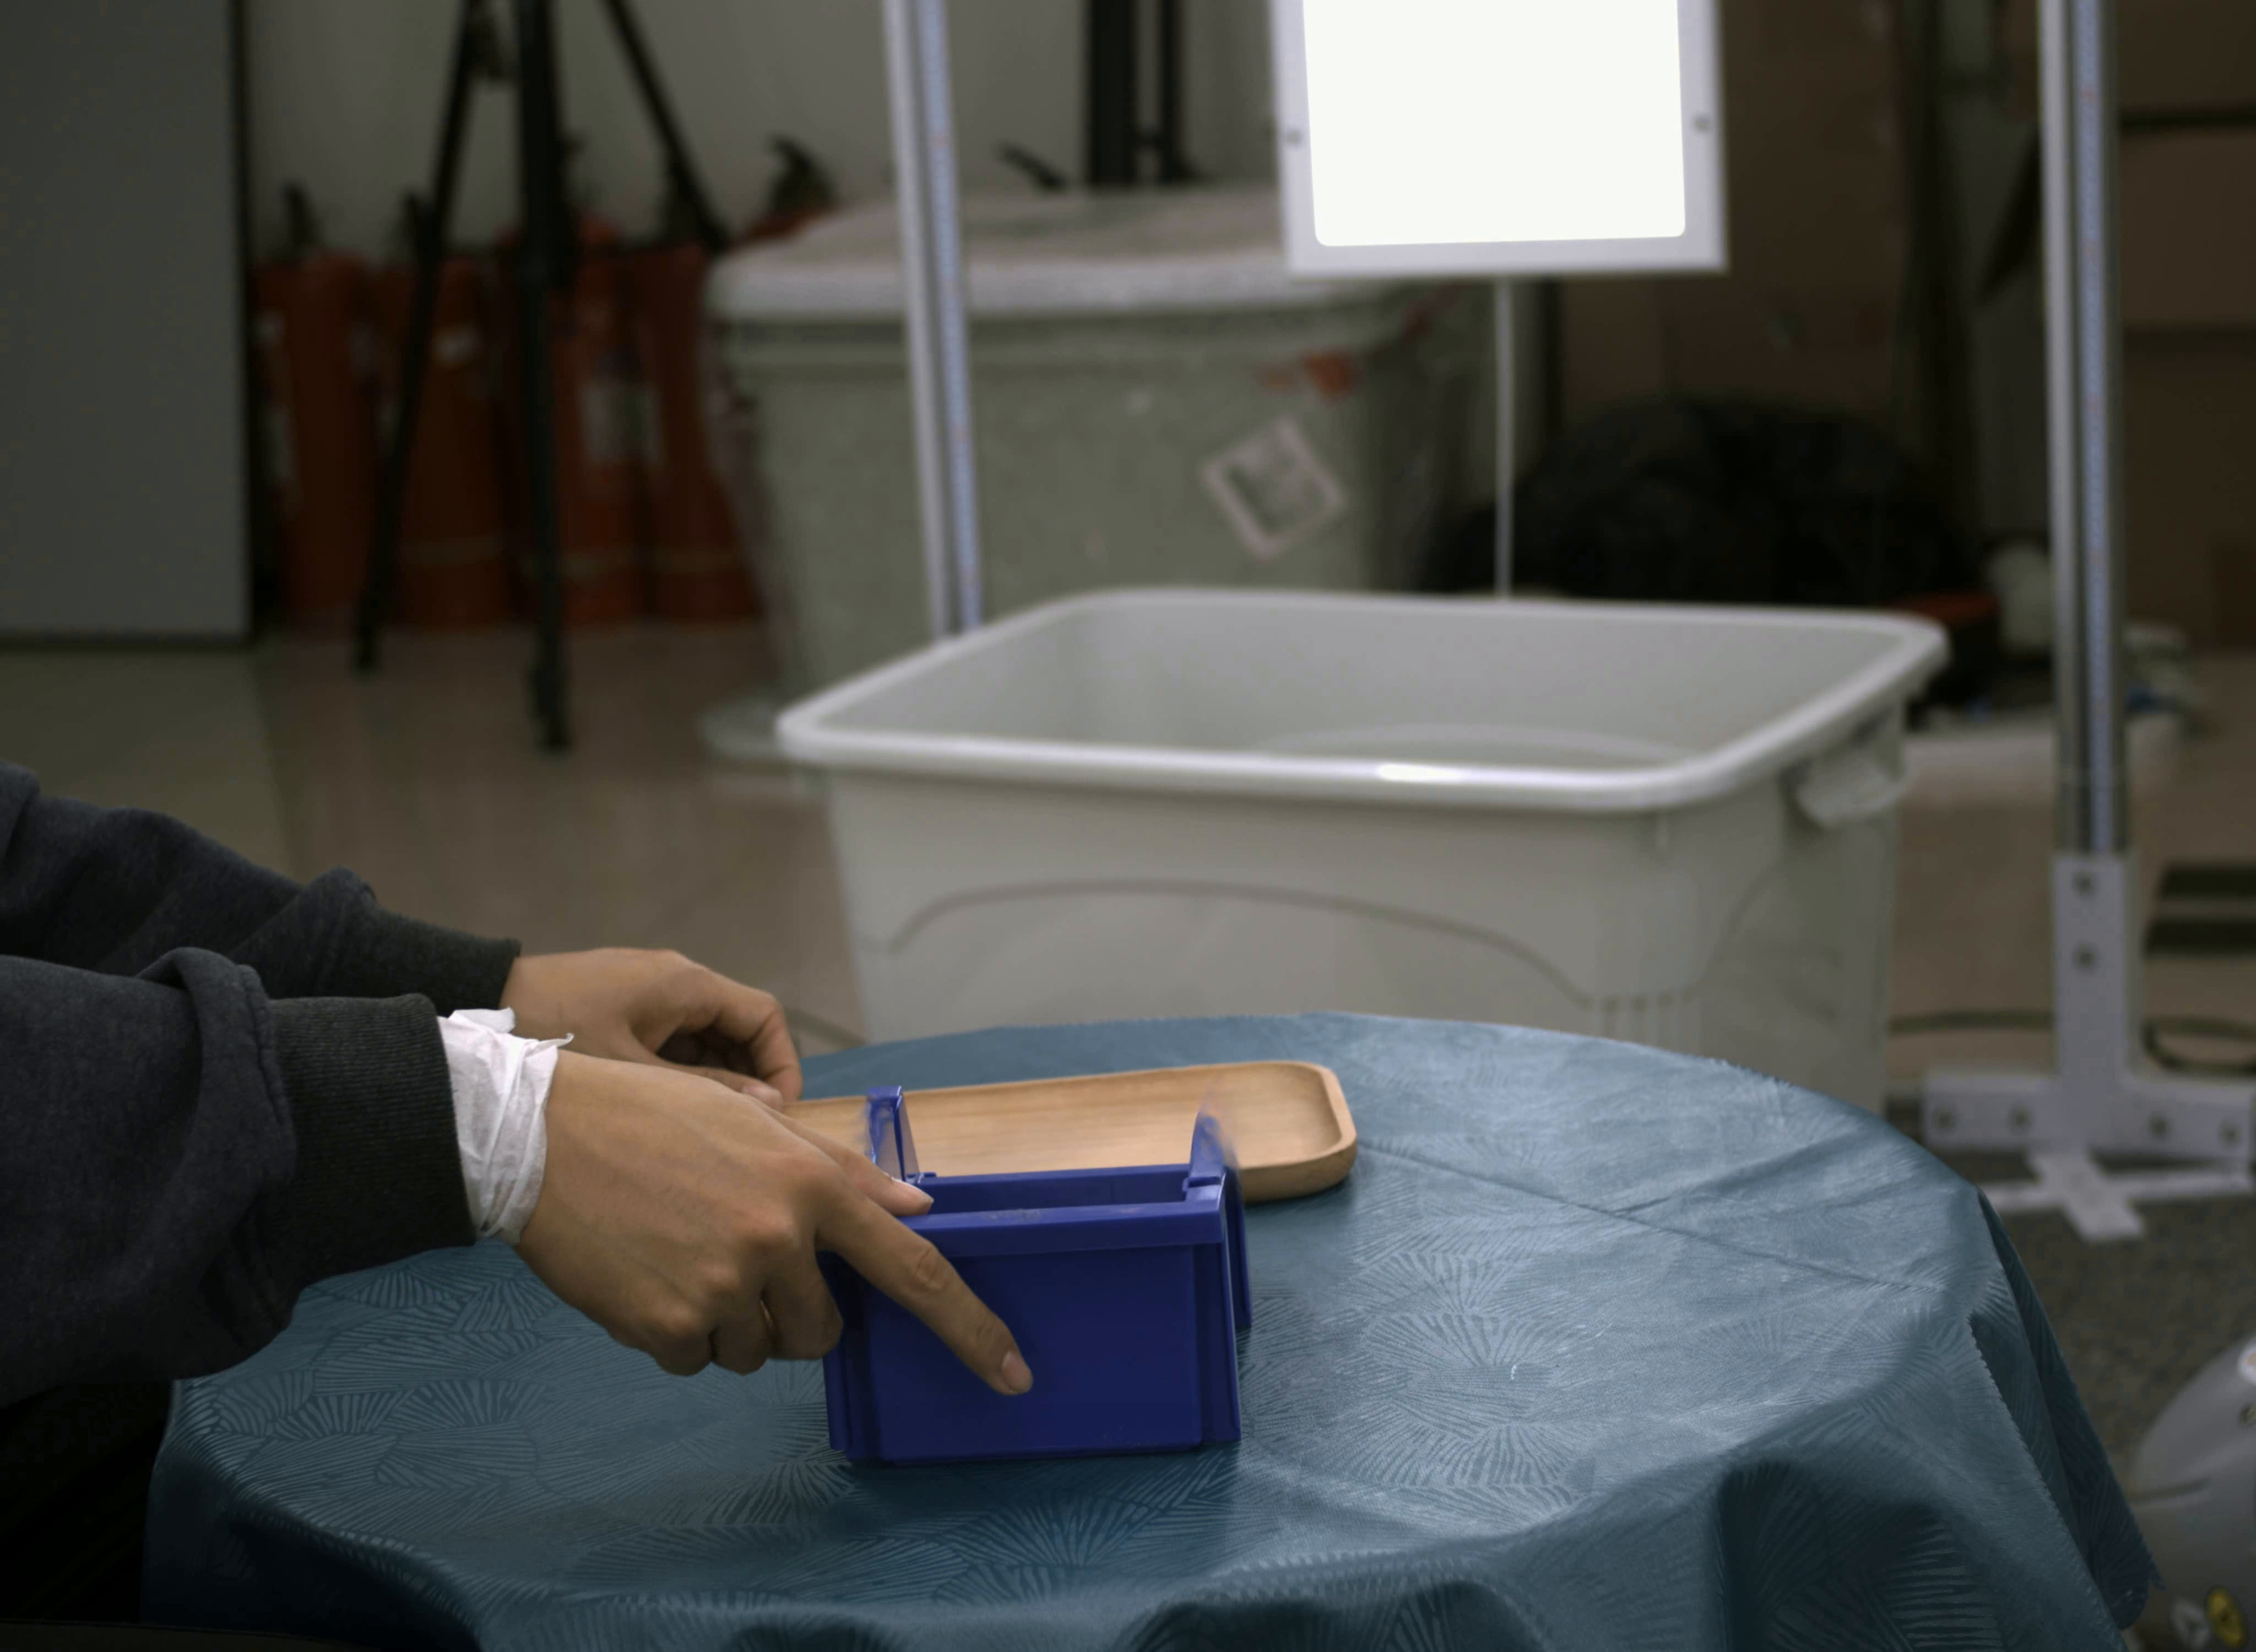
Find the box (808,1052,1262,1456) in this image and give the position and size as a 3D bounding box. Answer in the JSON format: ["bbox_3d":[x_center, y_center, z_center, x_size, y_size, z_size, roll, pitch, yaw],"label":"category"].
[{"bbox_3d":[-0.027,0.129,1.722,0.125,0.082,0.178,-3,17,7],"label":"box"}]

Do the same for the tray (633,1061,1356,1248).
[{"bbox_3d":[-0.047,0.114,1.926,0.250,0.023,0.130,-5,11,0],"label":"tray"}]
